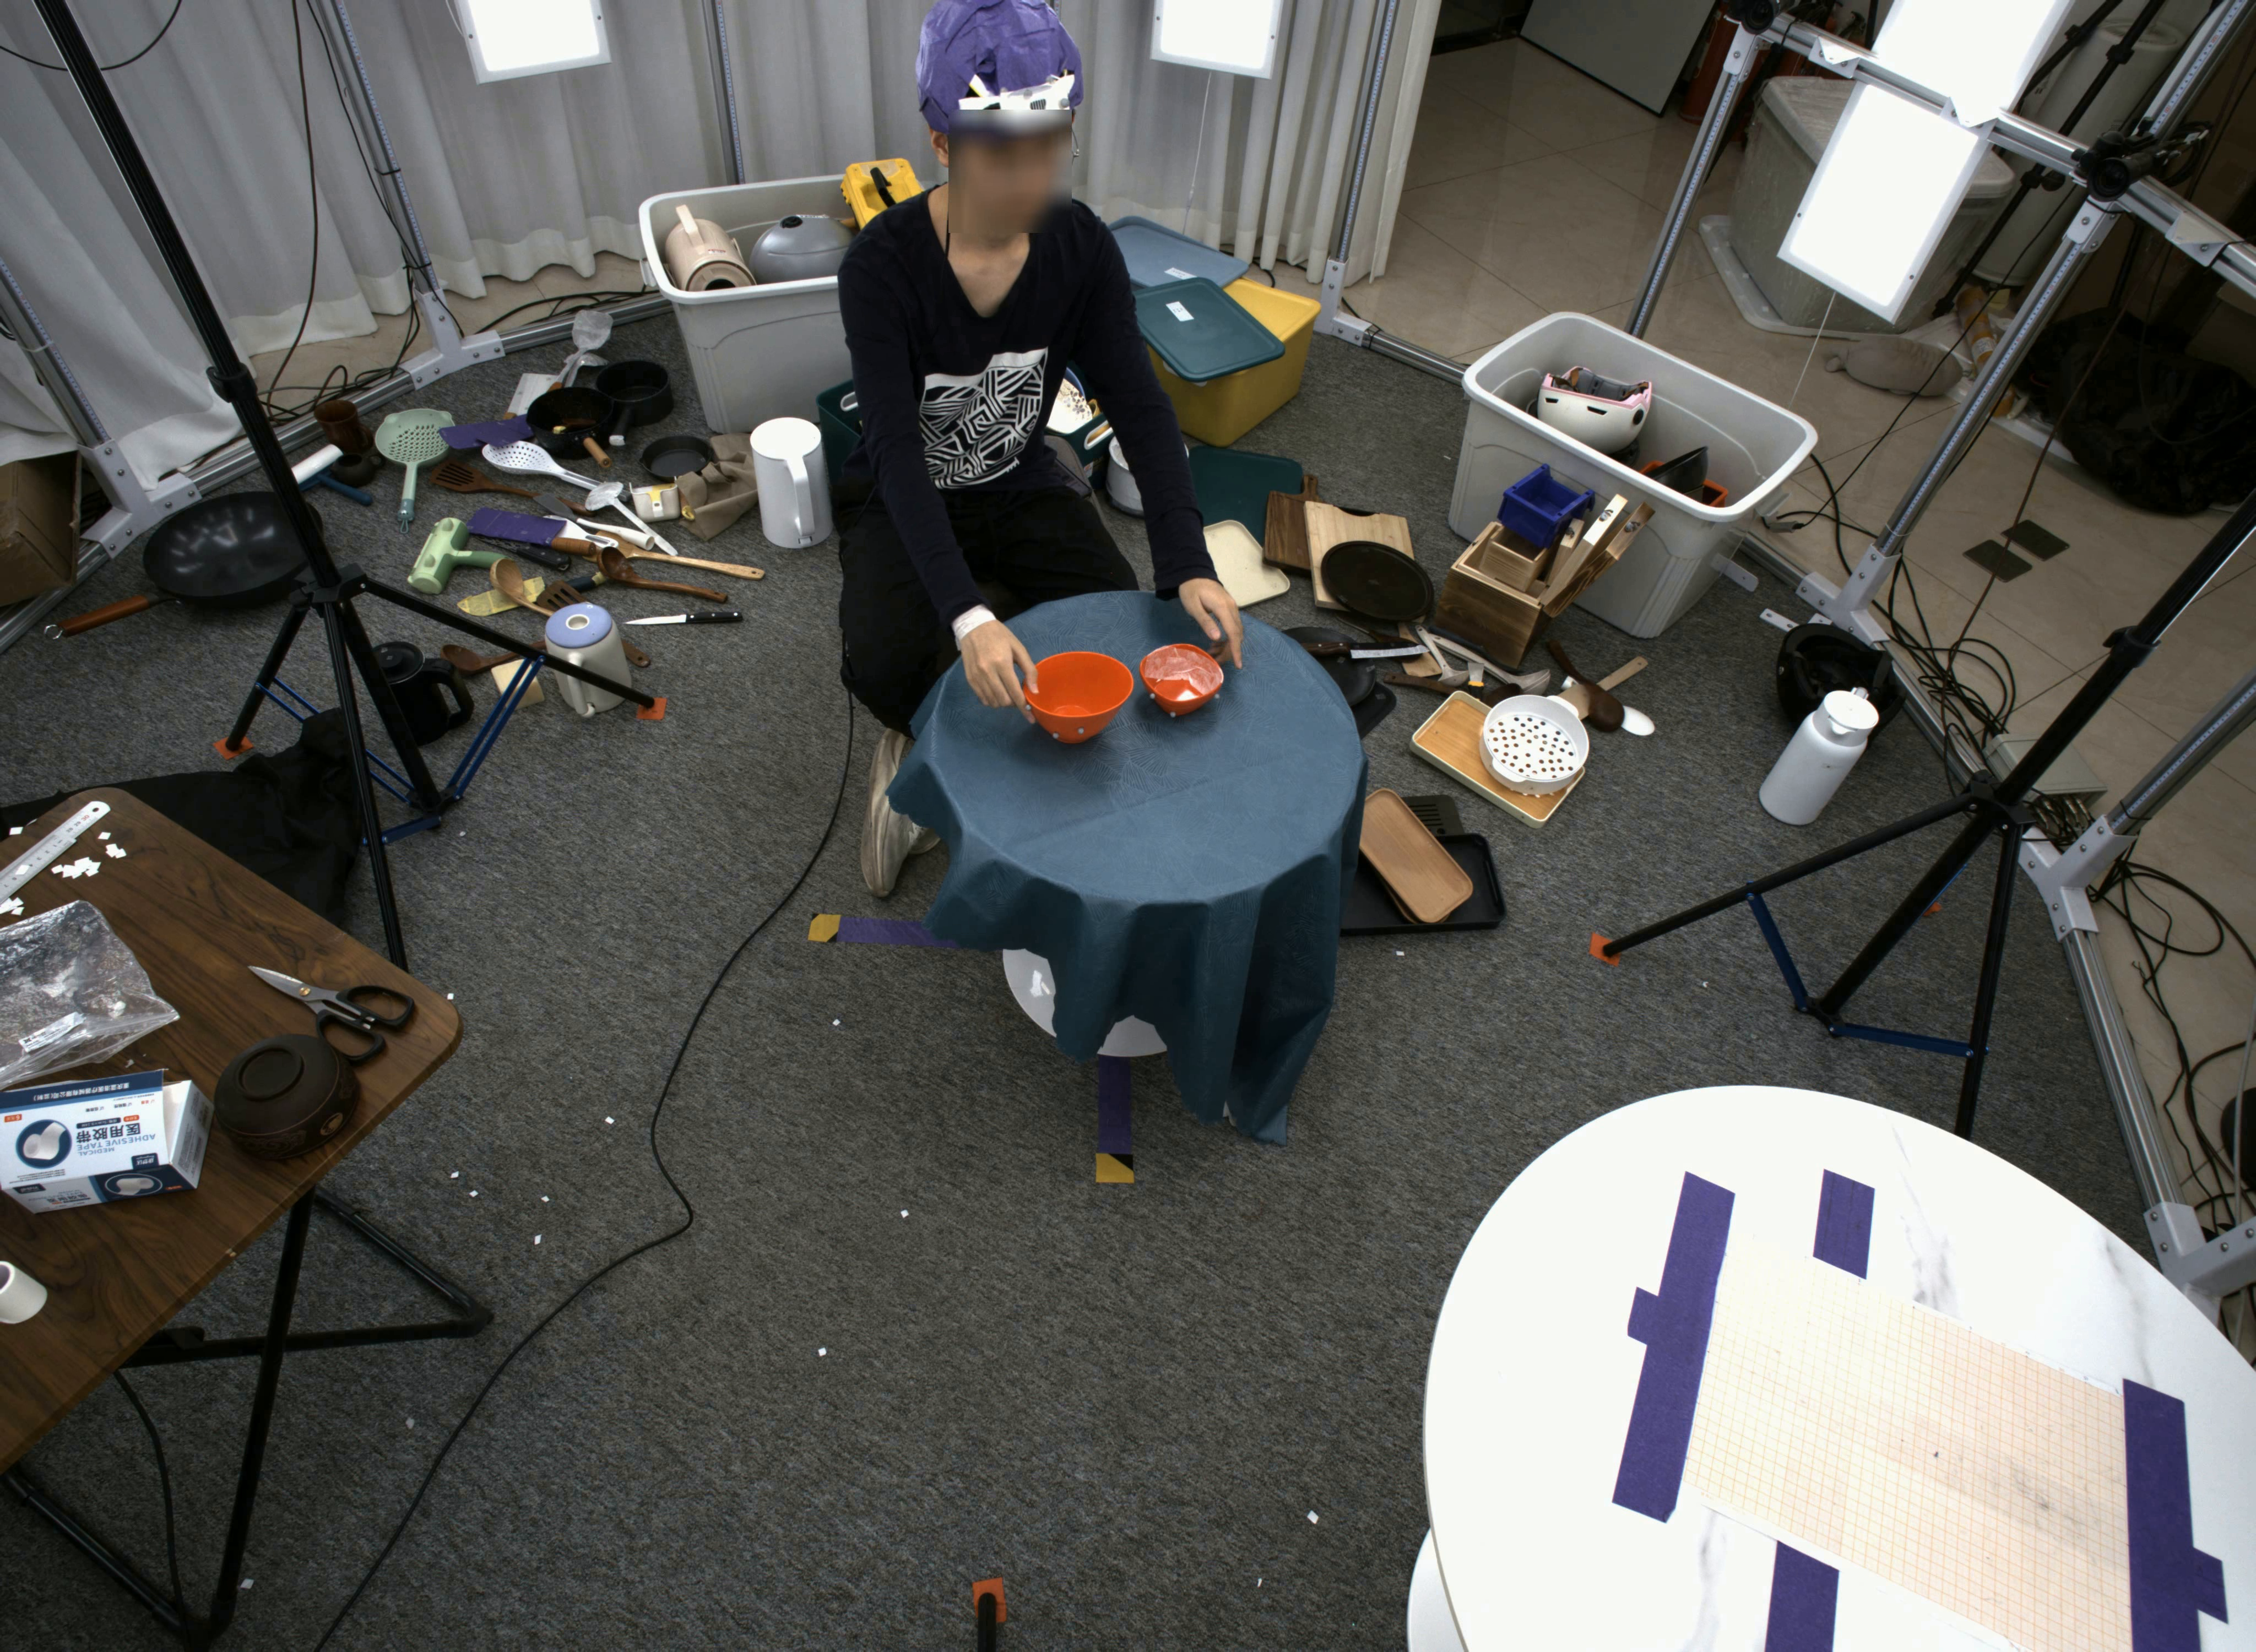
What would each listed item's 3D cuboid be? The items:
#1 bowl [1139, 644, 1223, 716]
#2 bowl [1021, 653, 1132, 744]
[{"bbox_3d":[0.074,-0.201,1.815,0.119,0.050,0.122,1,49,-1],"label":"bowl"},{"bbox_3d":[-0.071,-0.162,1.739,0.148,0.102,0.152,2,49,-2],"label":"bowl"}]
